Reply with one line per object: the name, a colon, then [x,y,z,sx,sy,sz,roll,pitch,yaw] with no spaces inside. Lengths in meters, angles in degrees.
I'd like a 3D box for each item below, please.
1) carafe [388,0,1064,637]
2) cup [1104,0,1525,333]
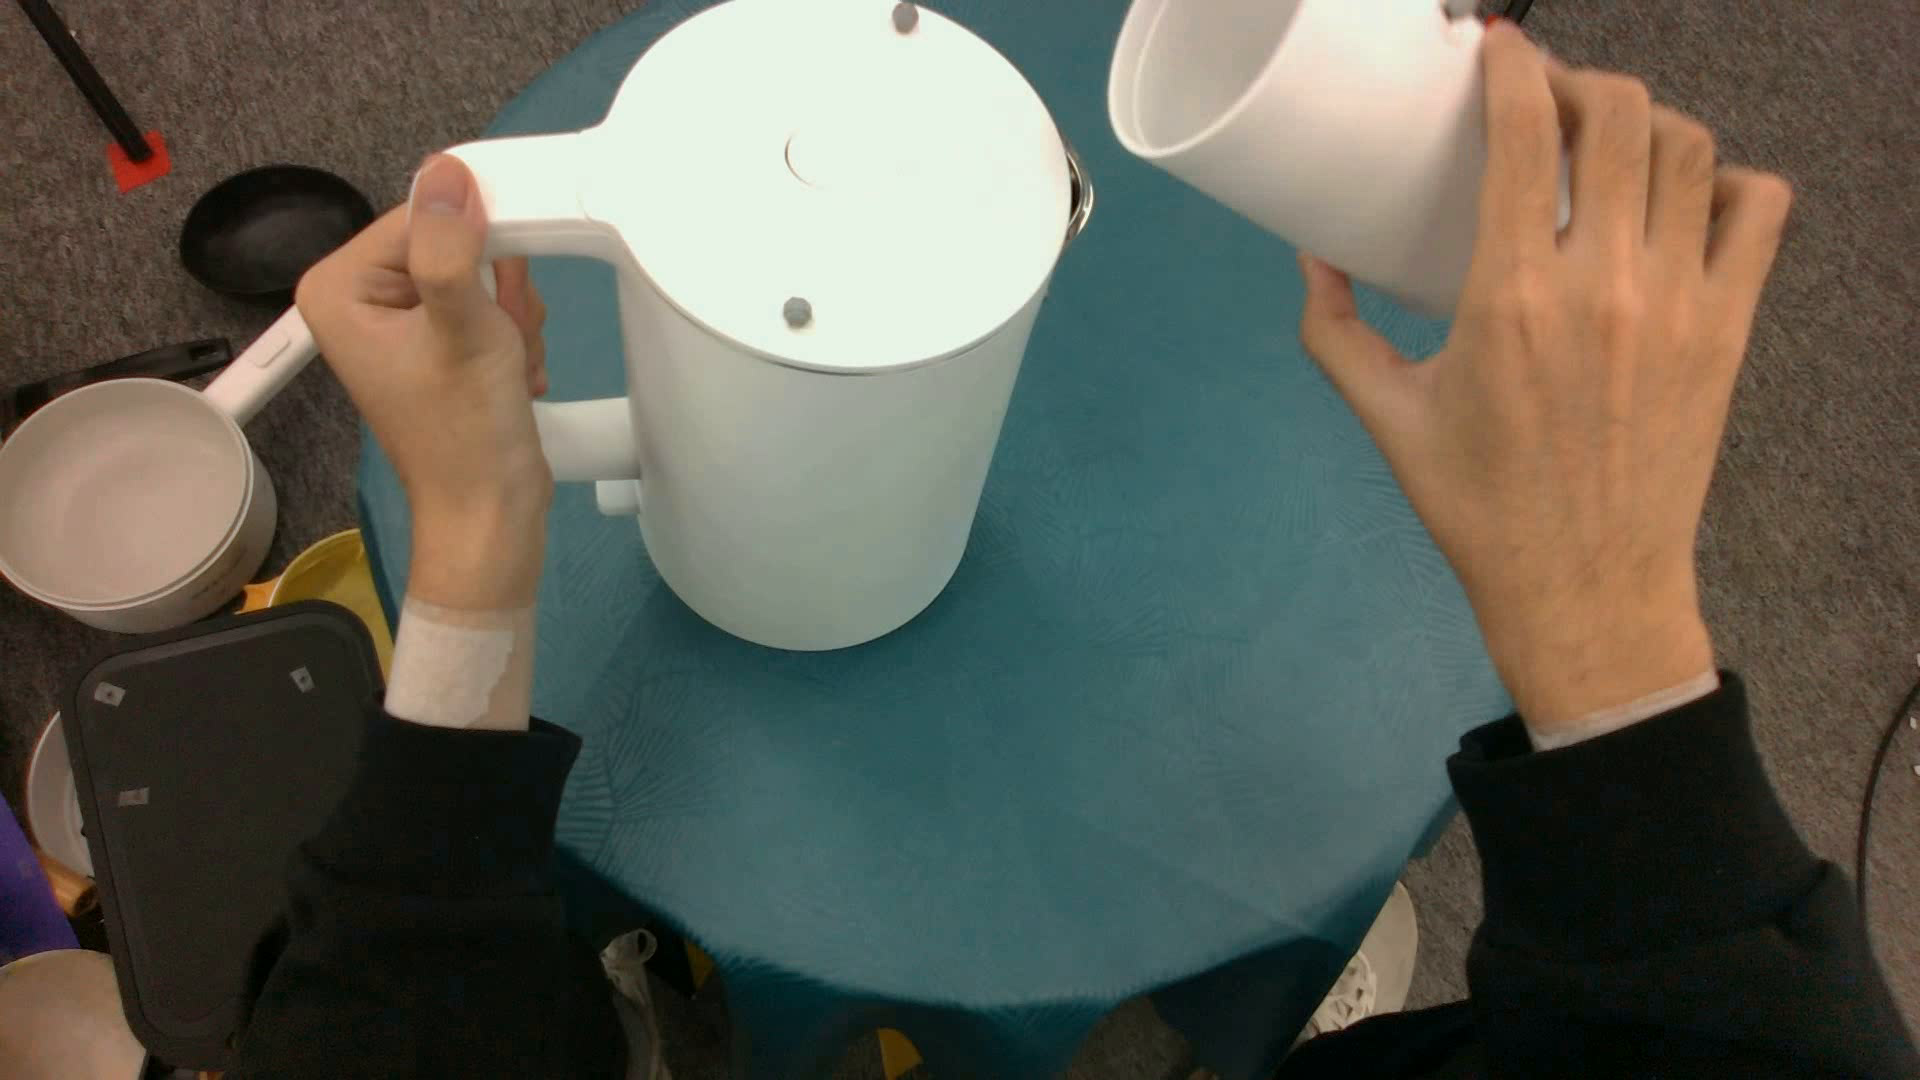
carafe: [-0.089,-0.073,0.523,0.213,0.239,0.152,-5,66,-14]
cup: [0.114,-0.123,0.423,0.125,0.081,0.082,27,58,-40]
